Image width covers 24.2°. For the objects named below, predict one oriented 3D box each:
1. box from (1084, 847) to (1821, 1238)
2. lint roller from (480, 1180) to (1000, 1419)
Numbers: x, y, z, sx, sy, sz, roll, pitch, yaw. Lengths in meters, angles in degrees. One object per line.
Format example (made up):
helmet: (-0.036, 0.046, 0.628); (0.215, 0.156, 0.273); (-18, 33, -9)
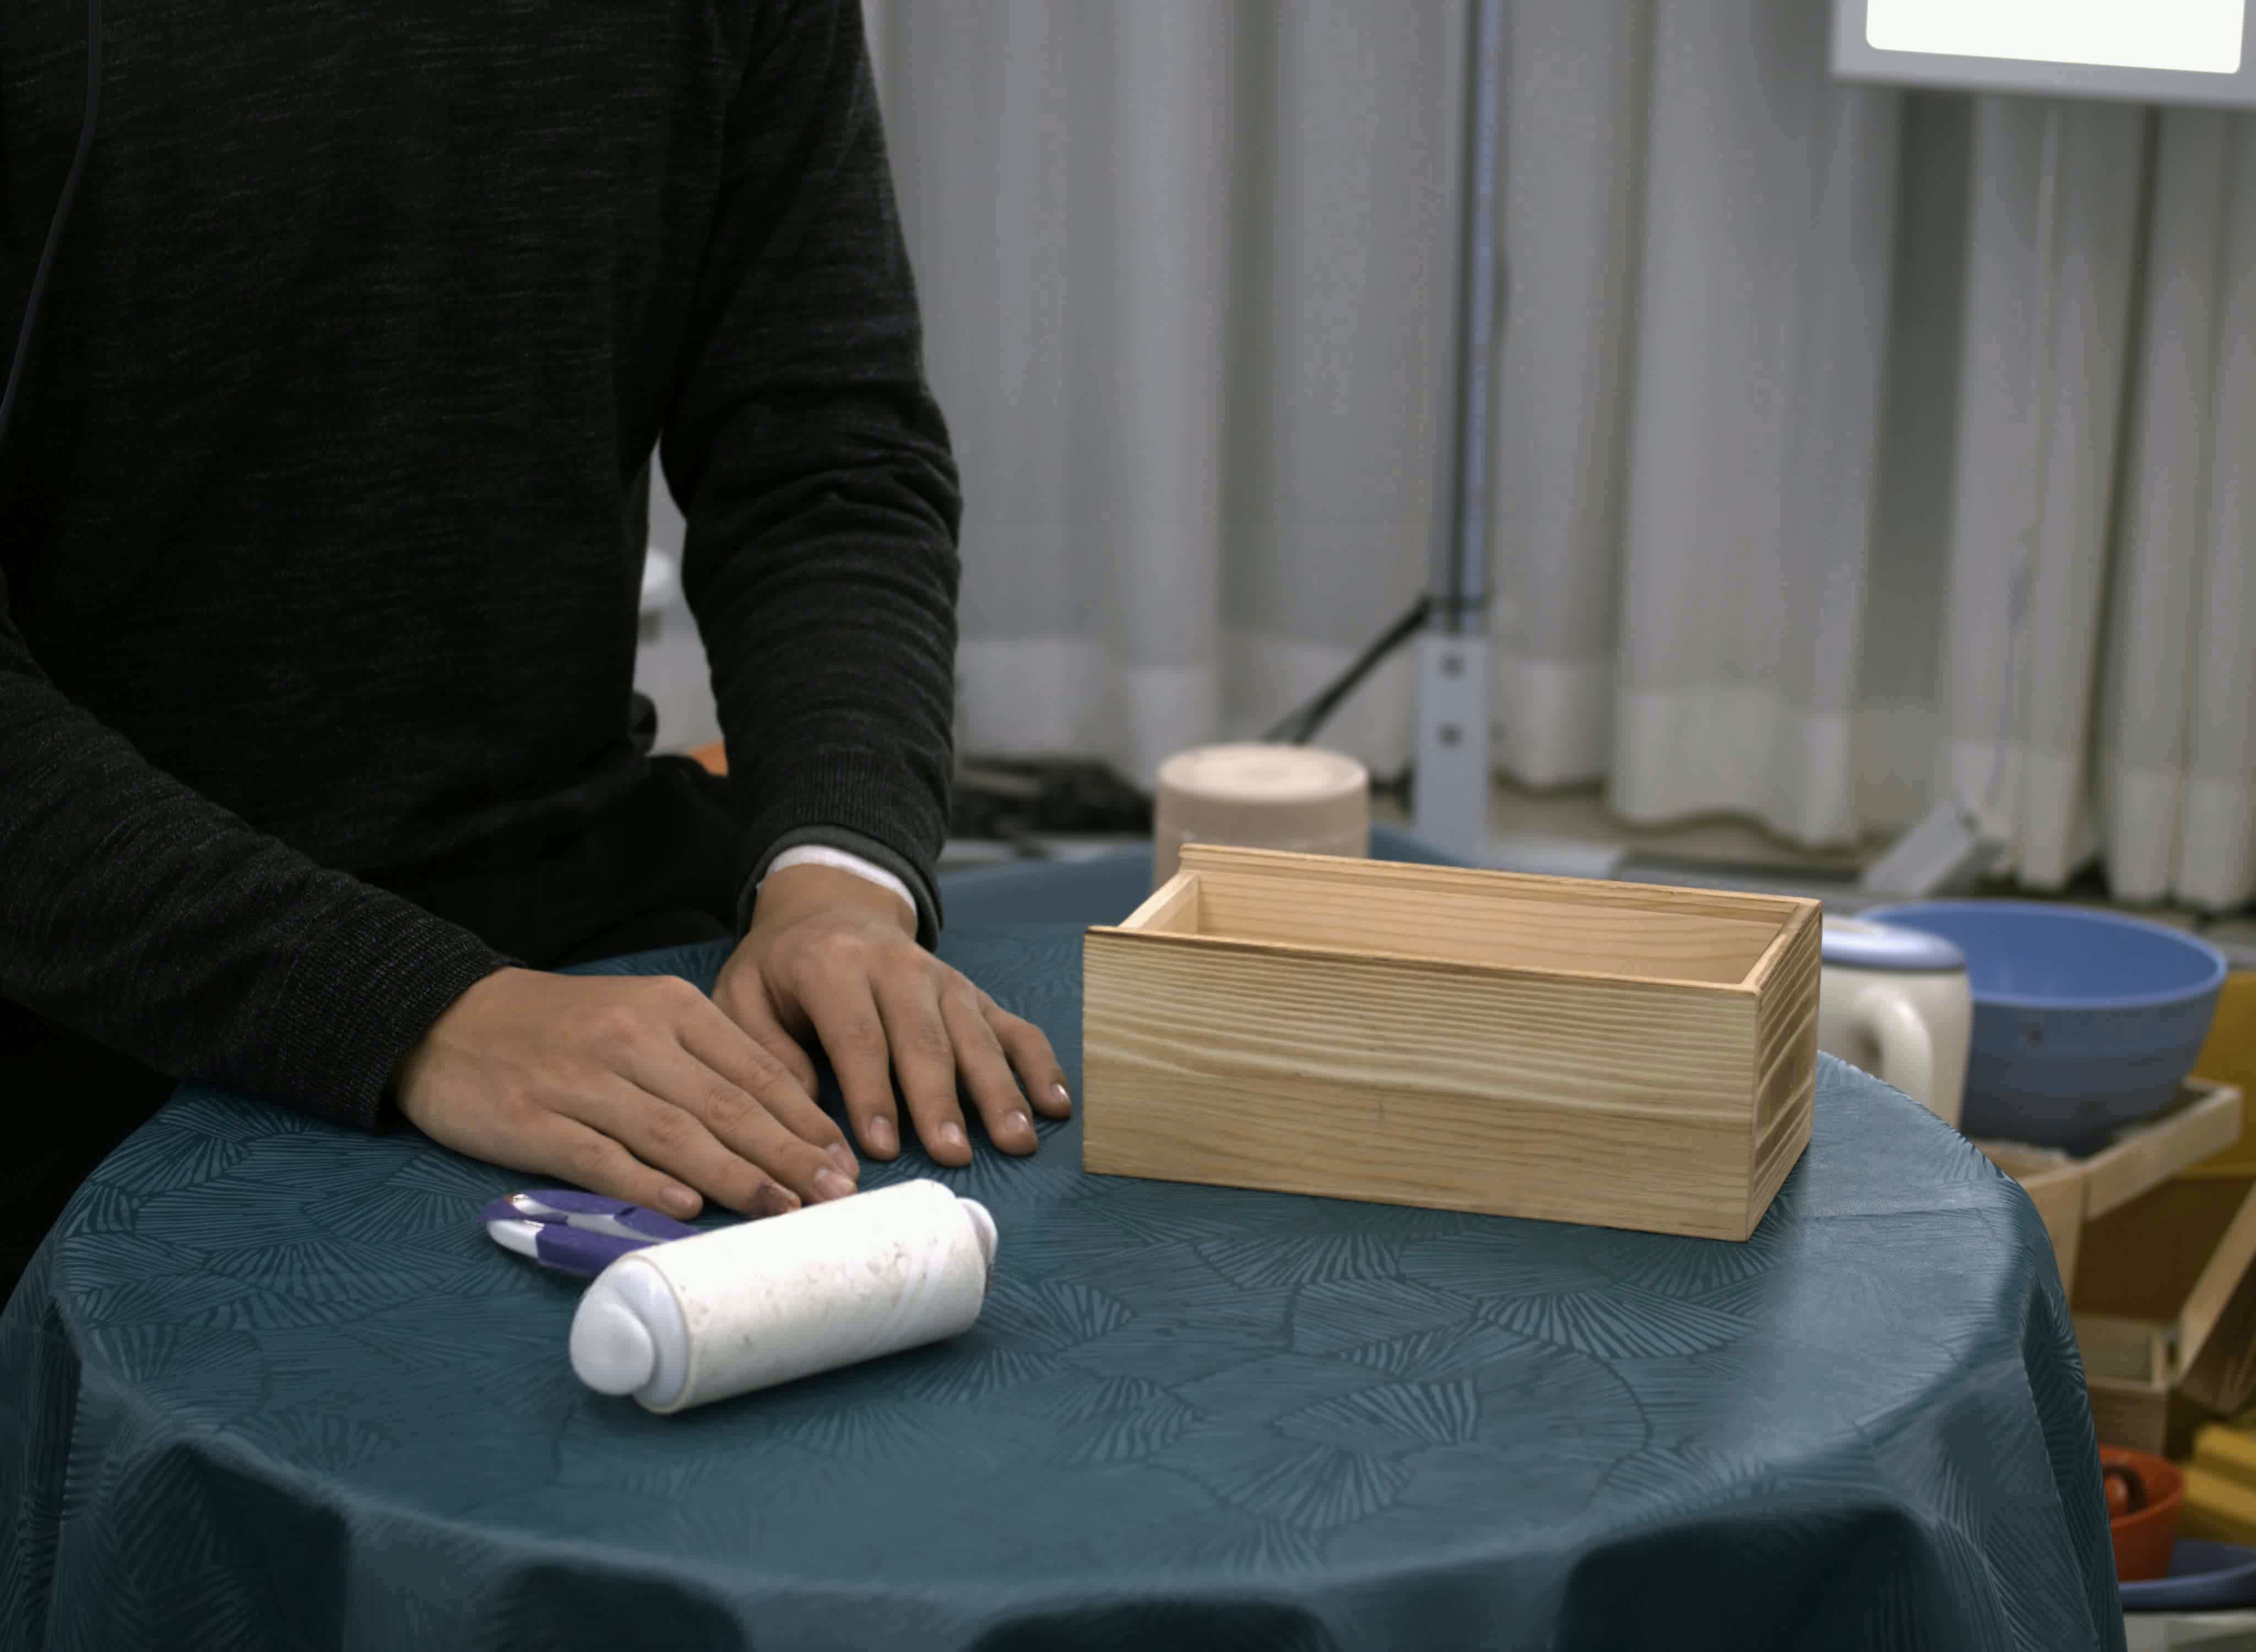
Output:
box: (0.102, 0.065, 1.644); (0.209, 0.081, 0.107); (4, 16, 16)
lint roller: (-0.132, 0.116, 1.514); (0.133, 0.050, 0.178); (-12, 22, -35)
